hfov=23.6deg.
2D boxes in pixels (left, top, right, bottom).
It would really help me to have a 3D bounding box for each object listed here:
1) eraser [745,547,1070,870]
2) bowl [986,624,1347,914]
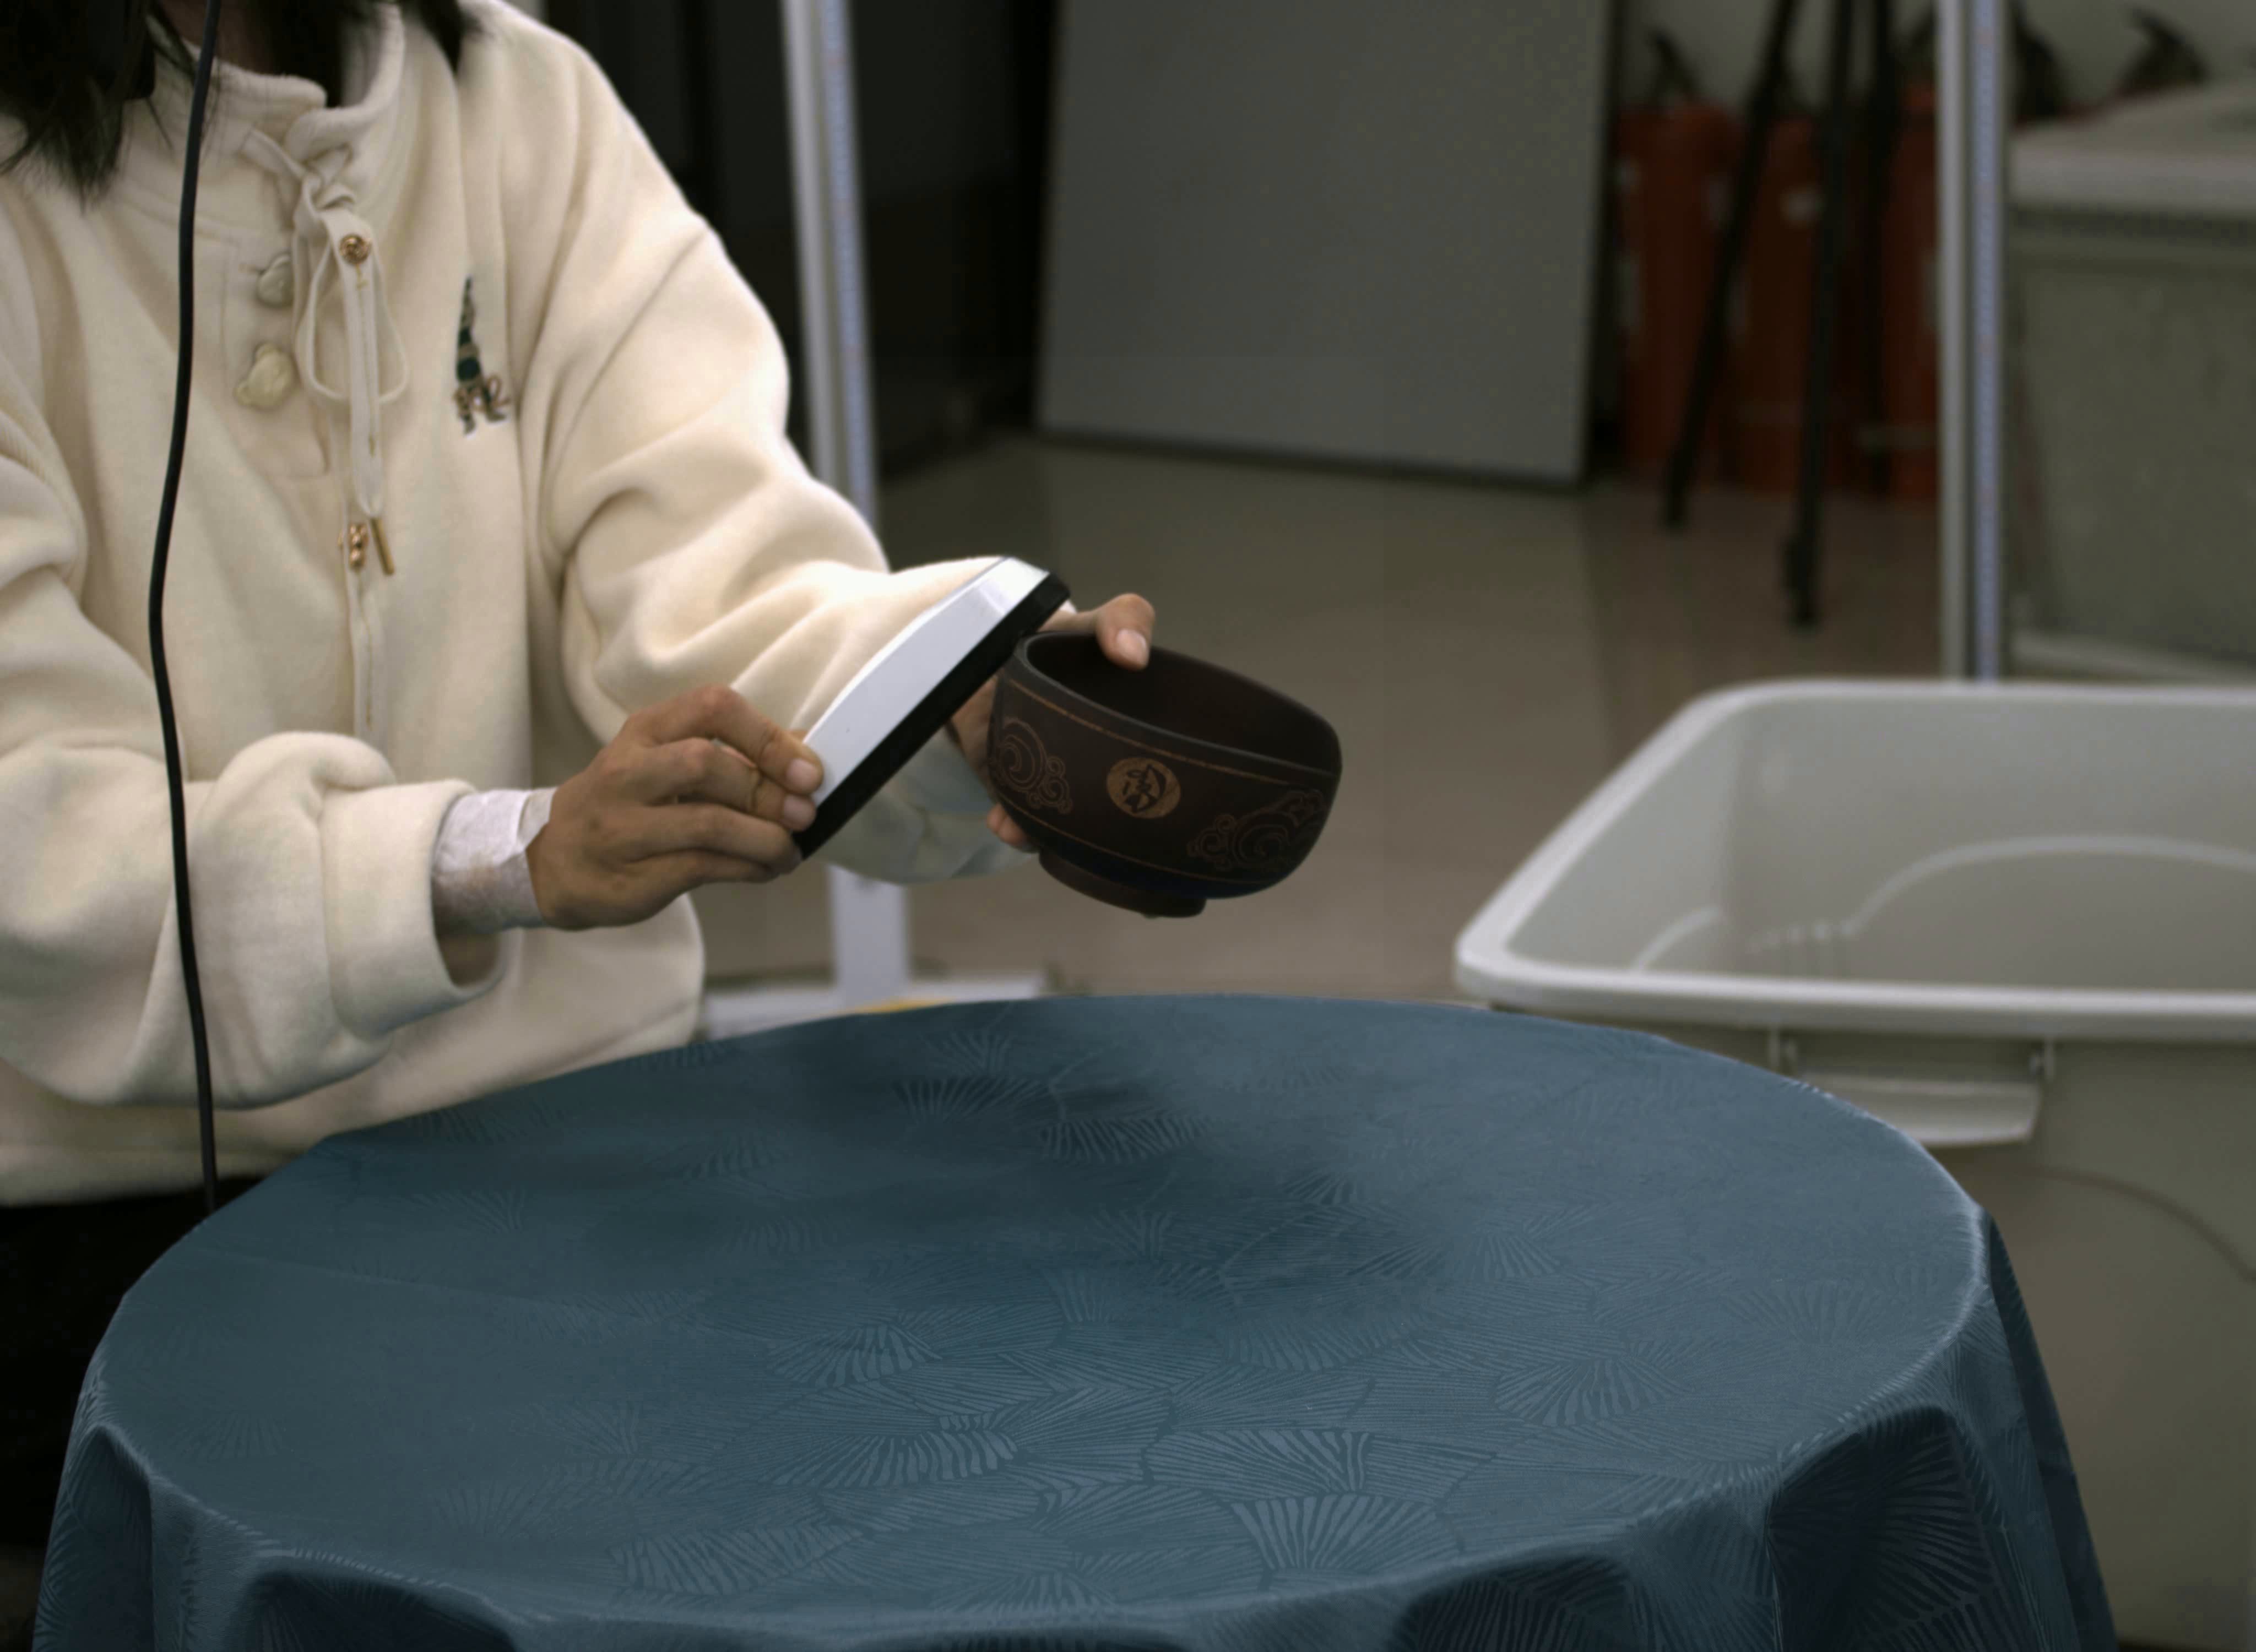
[{"bbox_3d":[-0.075,-0.041,1.813,0.132,0.034,0.063,-45,0,19],"label":"eraser"},{"bbox_3d":[0.008,-0.014,1.764,0.116,0.070,0.118,16,12,-5],"label":"bowl"}]
